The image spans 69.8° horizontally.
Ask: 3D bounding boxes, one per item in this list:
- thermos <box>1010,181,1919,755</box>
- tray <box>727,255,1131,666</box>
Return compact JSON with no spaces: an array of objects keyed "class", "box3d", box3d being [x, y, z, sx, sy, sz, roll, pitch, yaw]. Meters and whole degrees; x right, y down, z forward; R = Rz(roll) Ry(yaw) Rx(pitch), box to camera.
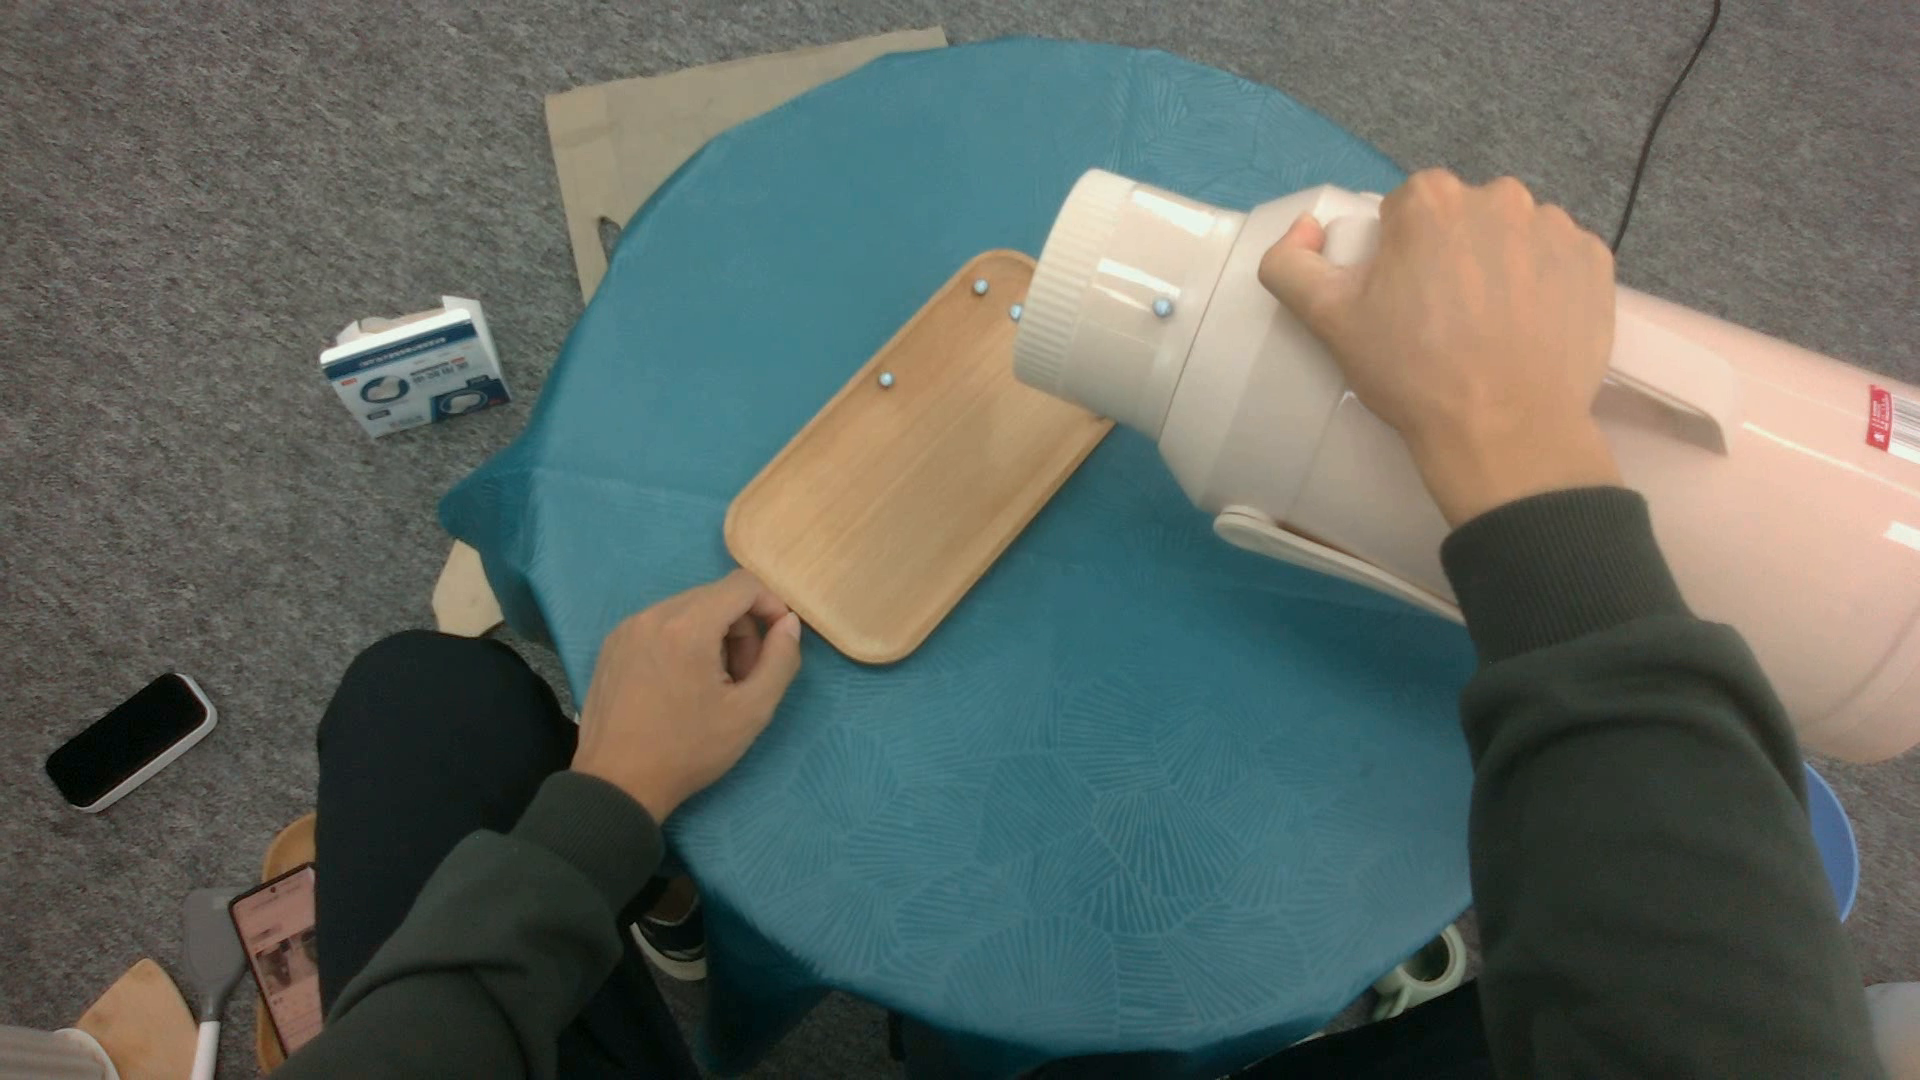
[{"class":"thermos","box3d":[0.226,-0.053,0.618,0.406,0.206,0.176,22,76,9]},{"class":"tray","box3d":[-0.009,-0.049,0.775,0.130,0.023,0.251,39,72,11]}]
